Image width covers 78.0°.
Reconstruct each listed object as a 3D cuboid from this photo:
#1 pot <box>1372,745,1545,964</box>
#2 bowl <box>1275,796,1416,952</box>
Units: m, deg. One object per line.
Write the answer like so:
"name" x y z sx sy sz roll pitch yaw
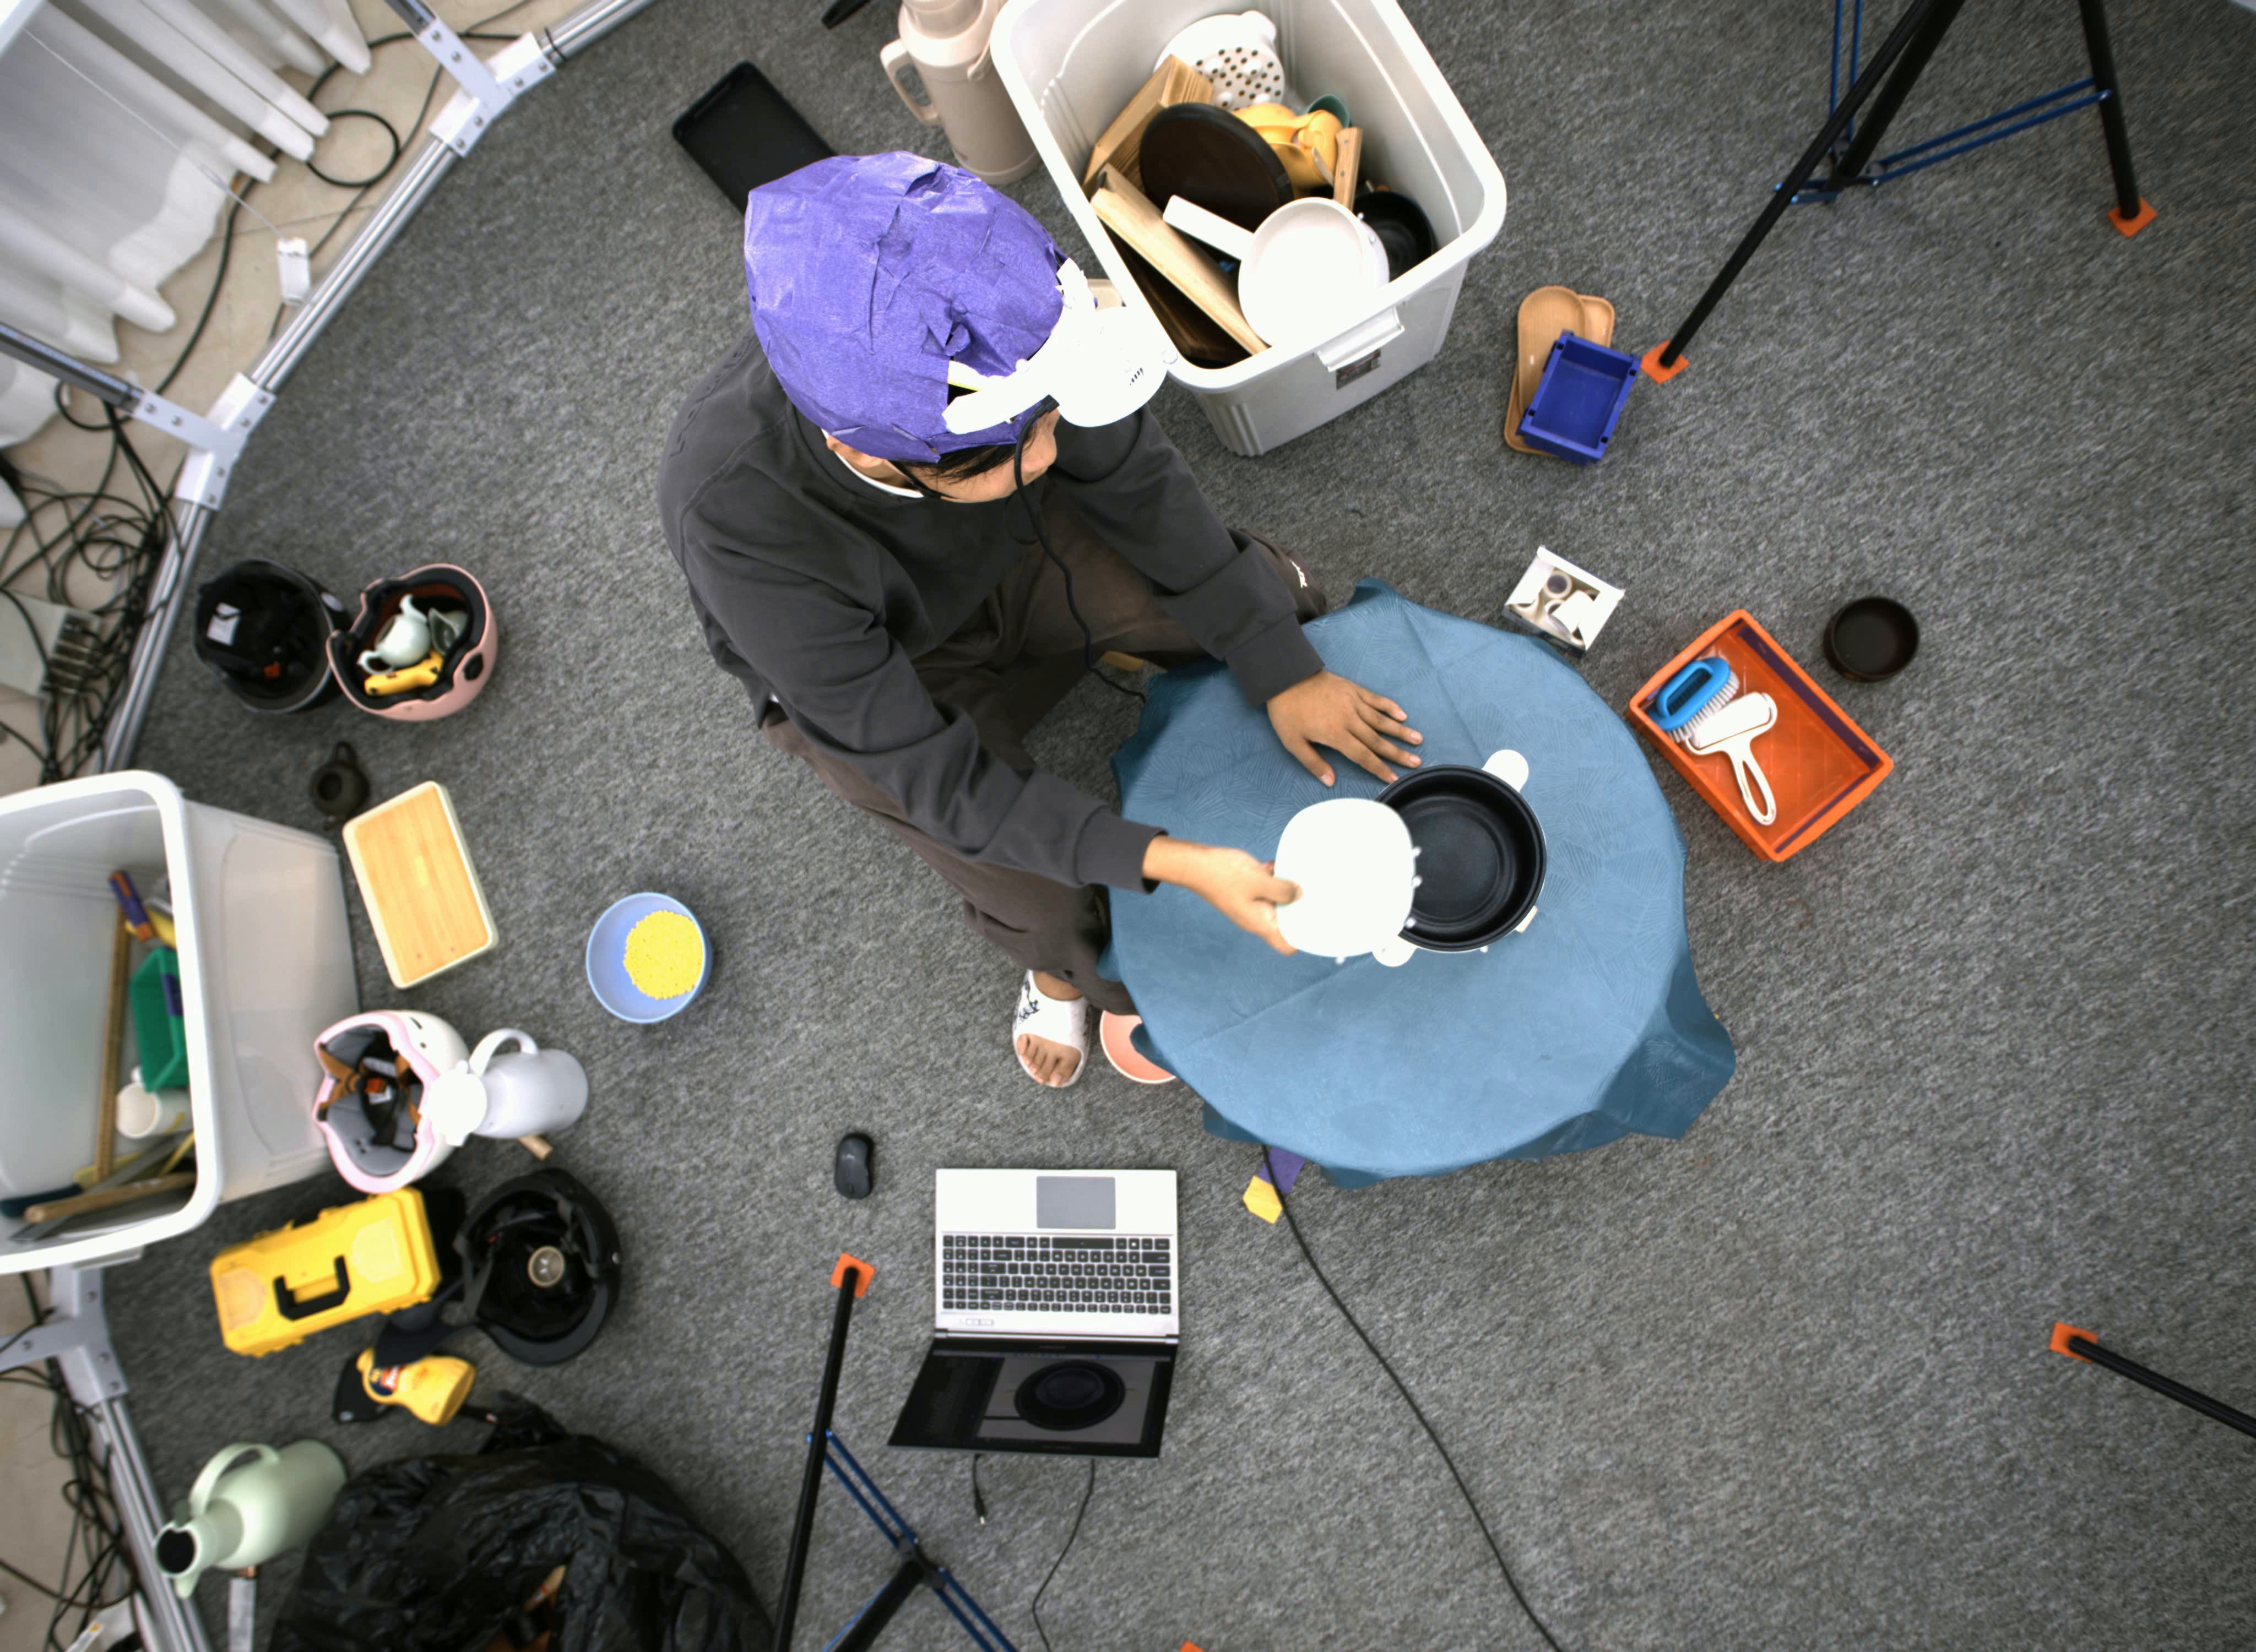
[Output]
"pot" 0.324 0.035 1.381 0.190 0.142 0.241 32 94 15
"bowl" 0.205 0.045 1.241 0.153 0.058 0.150 -8 79 40
